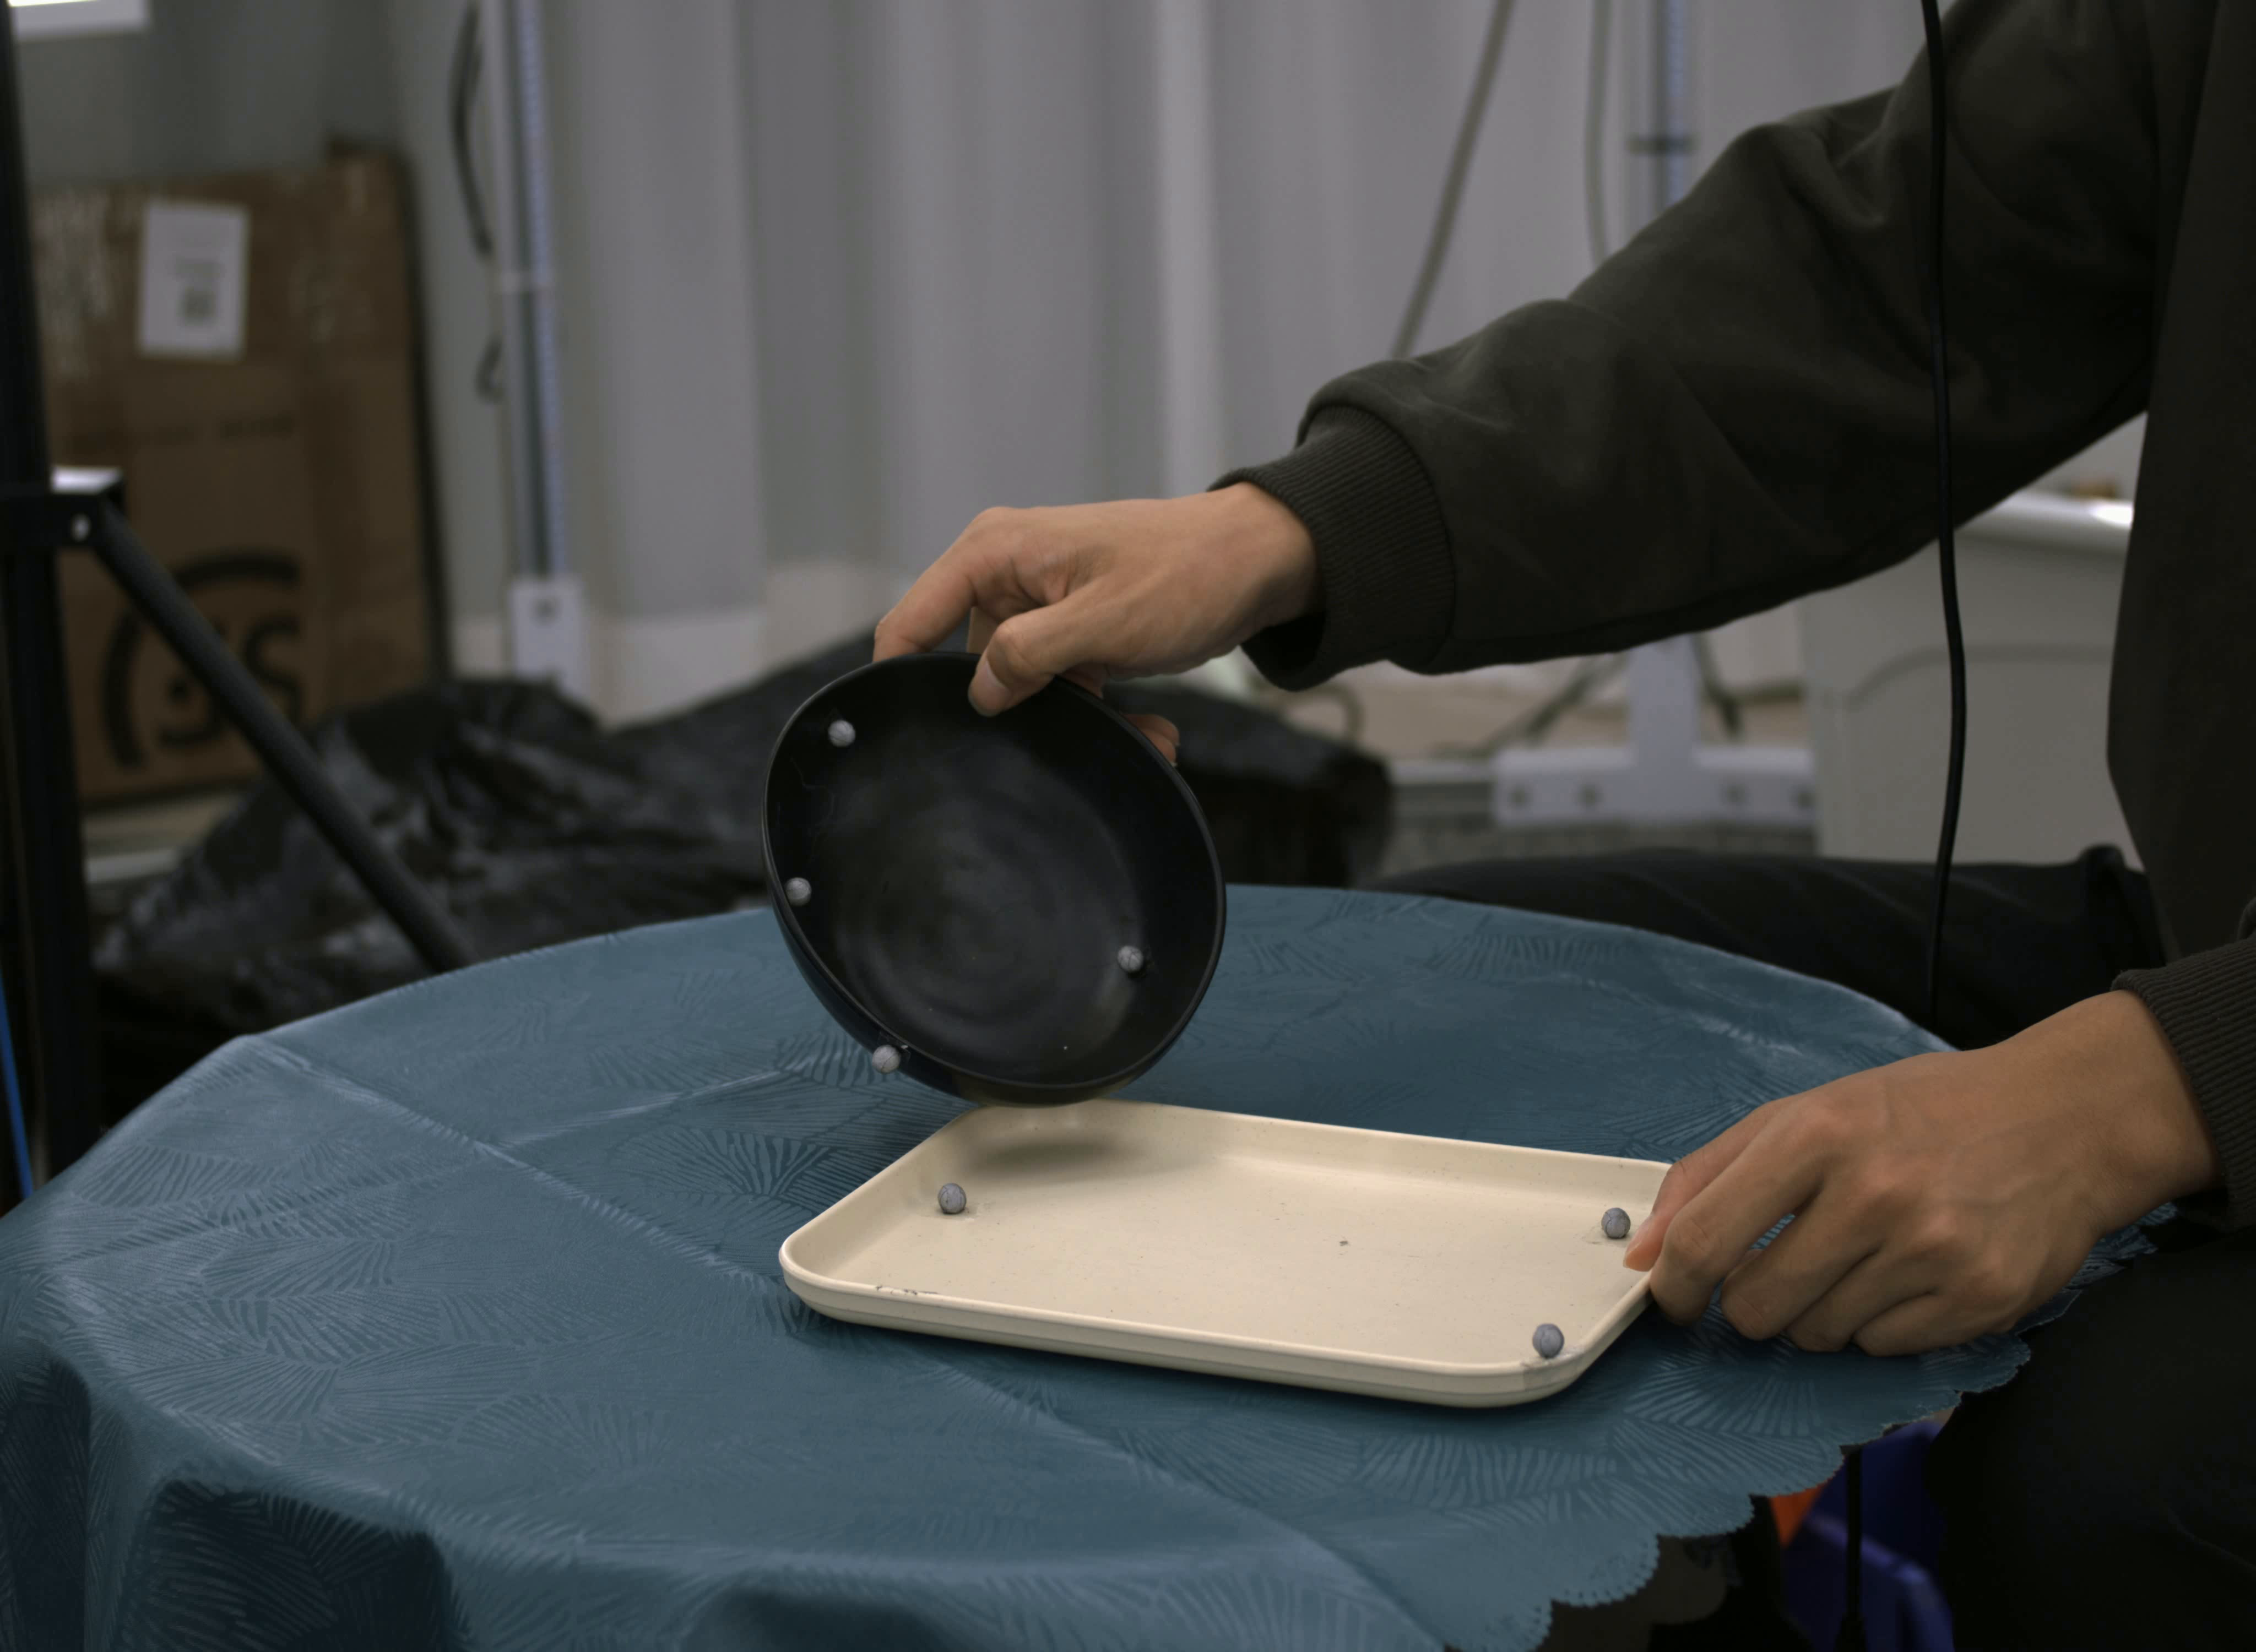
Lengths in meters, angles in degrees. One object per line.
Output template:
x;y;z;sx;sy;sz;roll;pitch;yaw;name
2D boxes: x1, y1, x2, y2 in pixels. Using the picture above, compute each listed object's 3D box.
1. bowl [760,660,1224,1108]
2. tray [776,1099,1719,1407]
-0.047;0.026;1.624;0.135;0.066;0.173;-14;55;-19;bowl
0.035;0.119;1.486;0.243;0.017;0.168;5;17;25;tray
